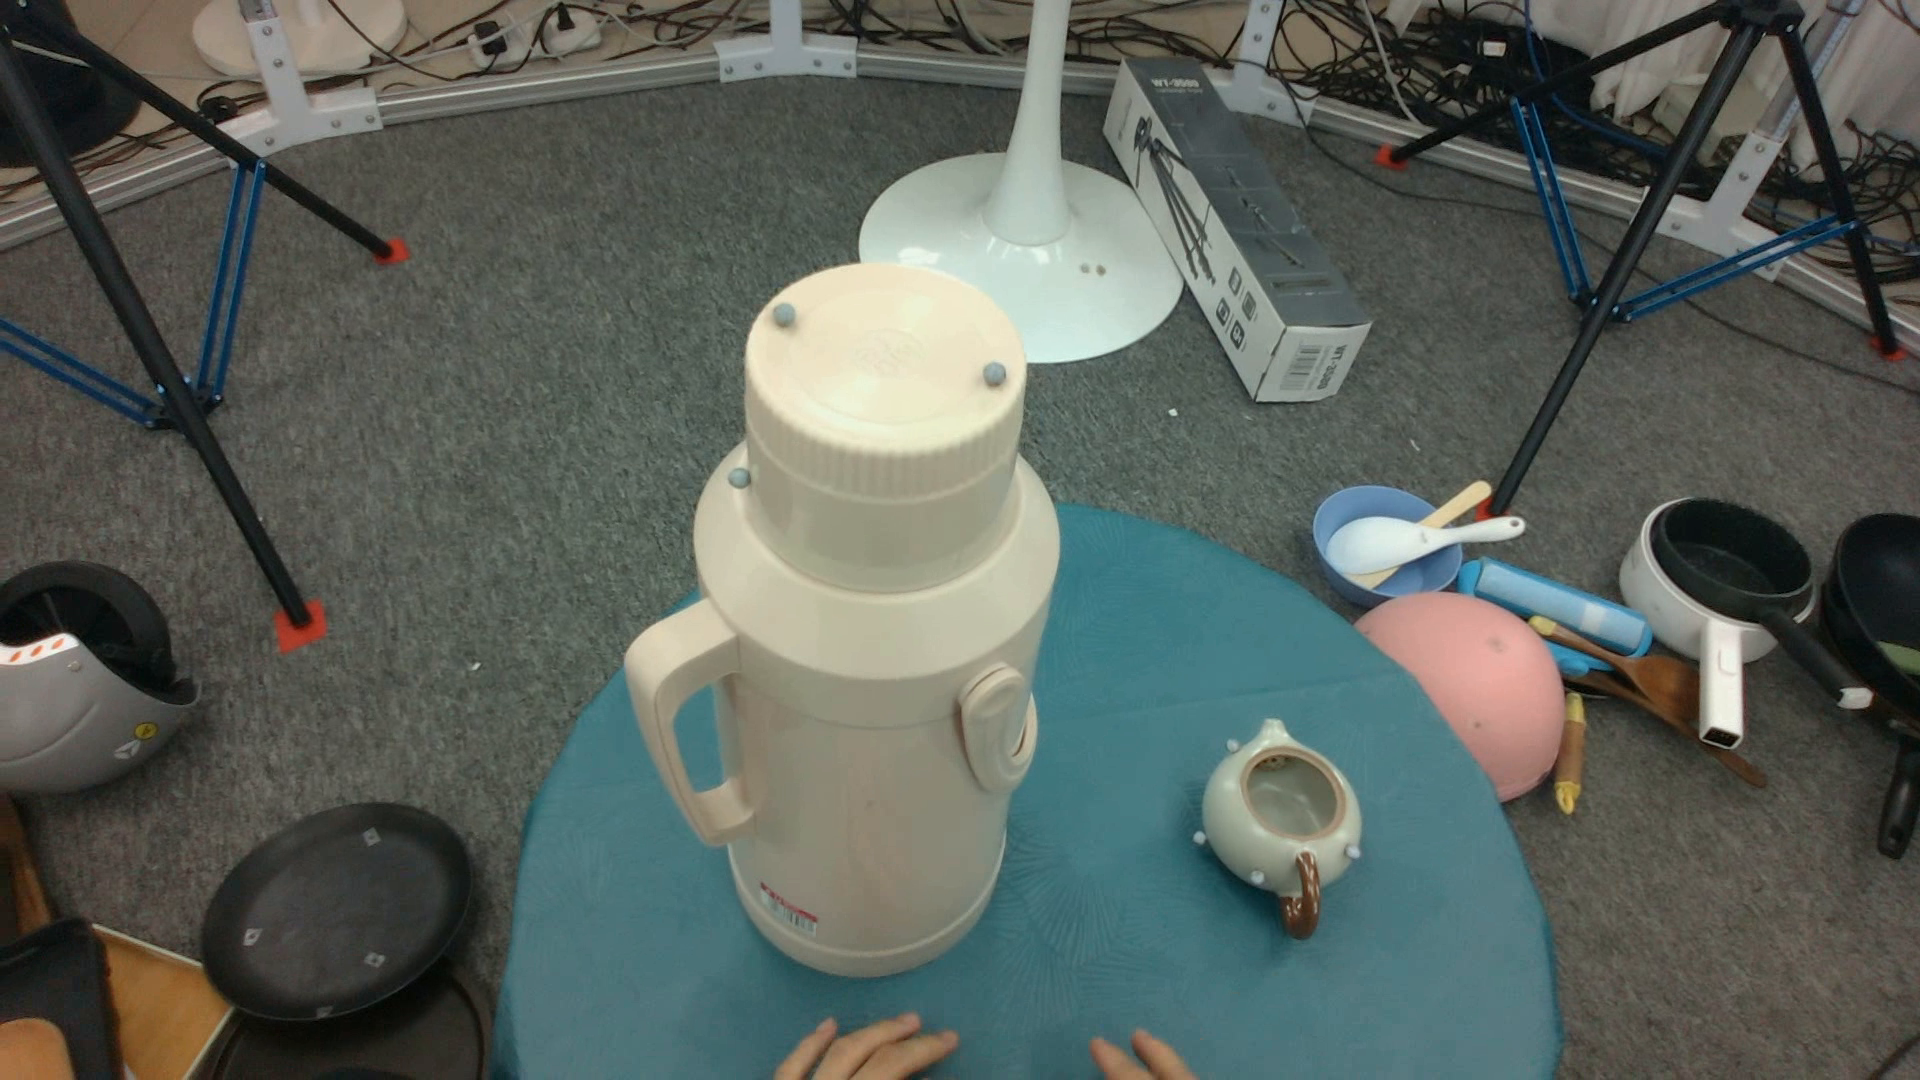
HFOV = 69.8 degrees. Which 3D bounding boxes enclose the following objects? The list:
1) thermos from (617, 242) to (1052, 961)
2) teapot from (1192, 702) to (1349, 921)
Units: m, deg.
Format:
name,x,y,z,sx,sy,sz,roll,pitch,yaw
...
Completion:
name,x,y,z,sx,sy,sz,roll,pitch,yaw
thermos,-0.058,0.054,0.655,0.208,0.404,0.175,-29,60,-27
teapot,0.184,0.161,0.809,0.092,0.059,0.128,2,49,-10
